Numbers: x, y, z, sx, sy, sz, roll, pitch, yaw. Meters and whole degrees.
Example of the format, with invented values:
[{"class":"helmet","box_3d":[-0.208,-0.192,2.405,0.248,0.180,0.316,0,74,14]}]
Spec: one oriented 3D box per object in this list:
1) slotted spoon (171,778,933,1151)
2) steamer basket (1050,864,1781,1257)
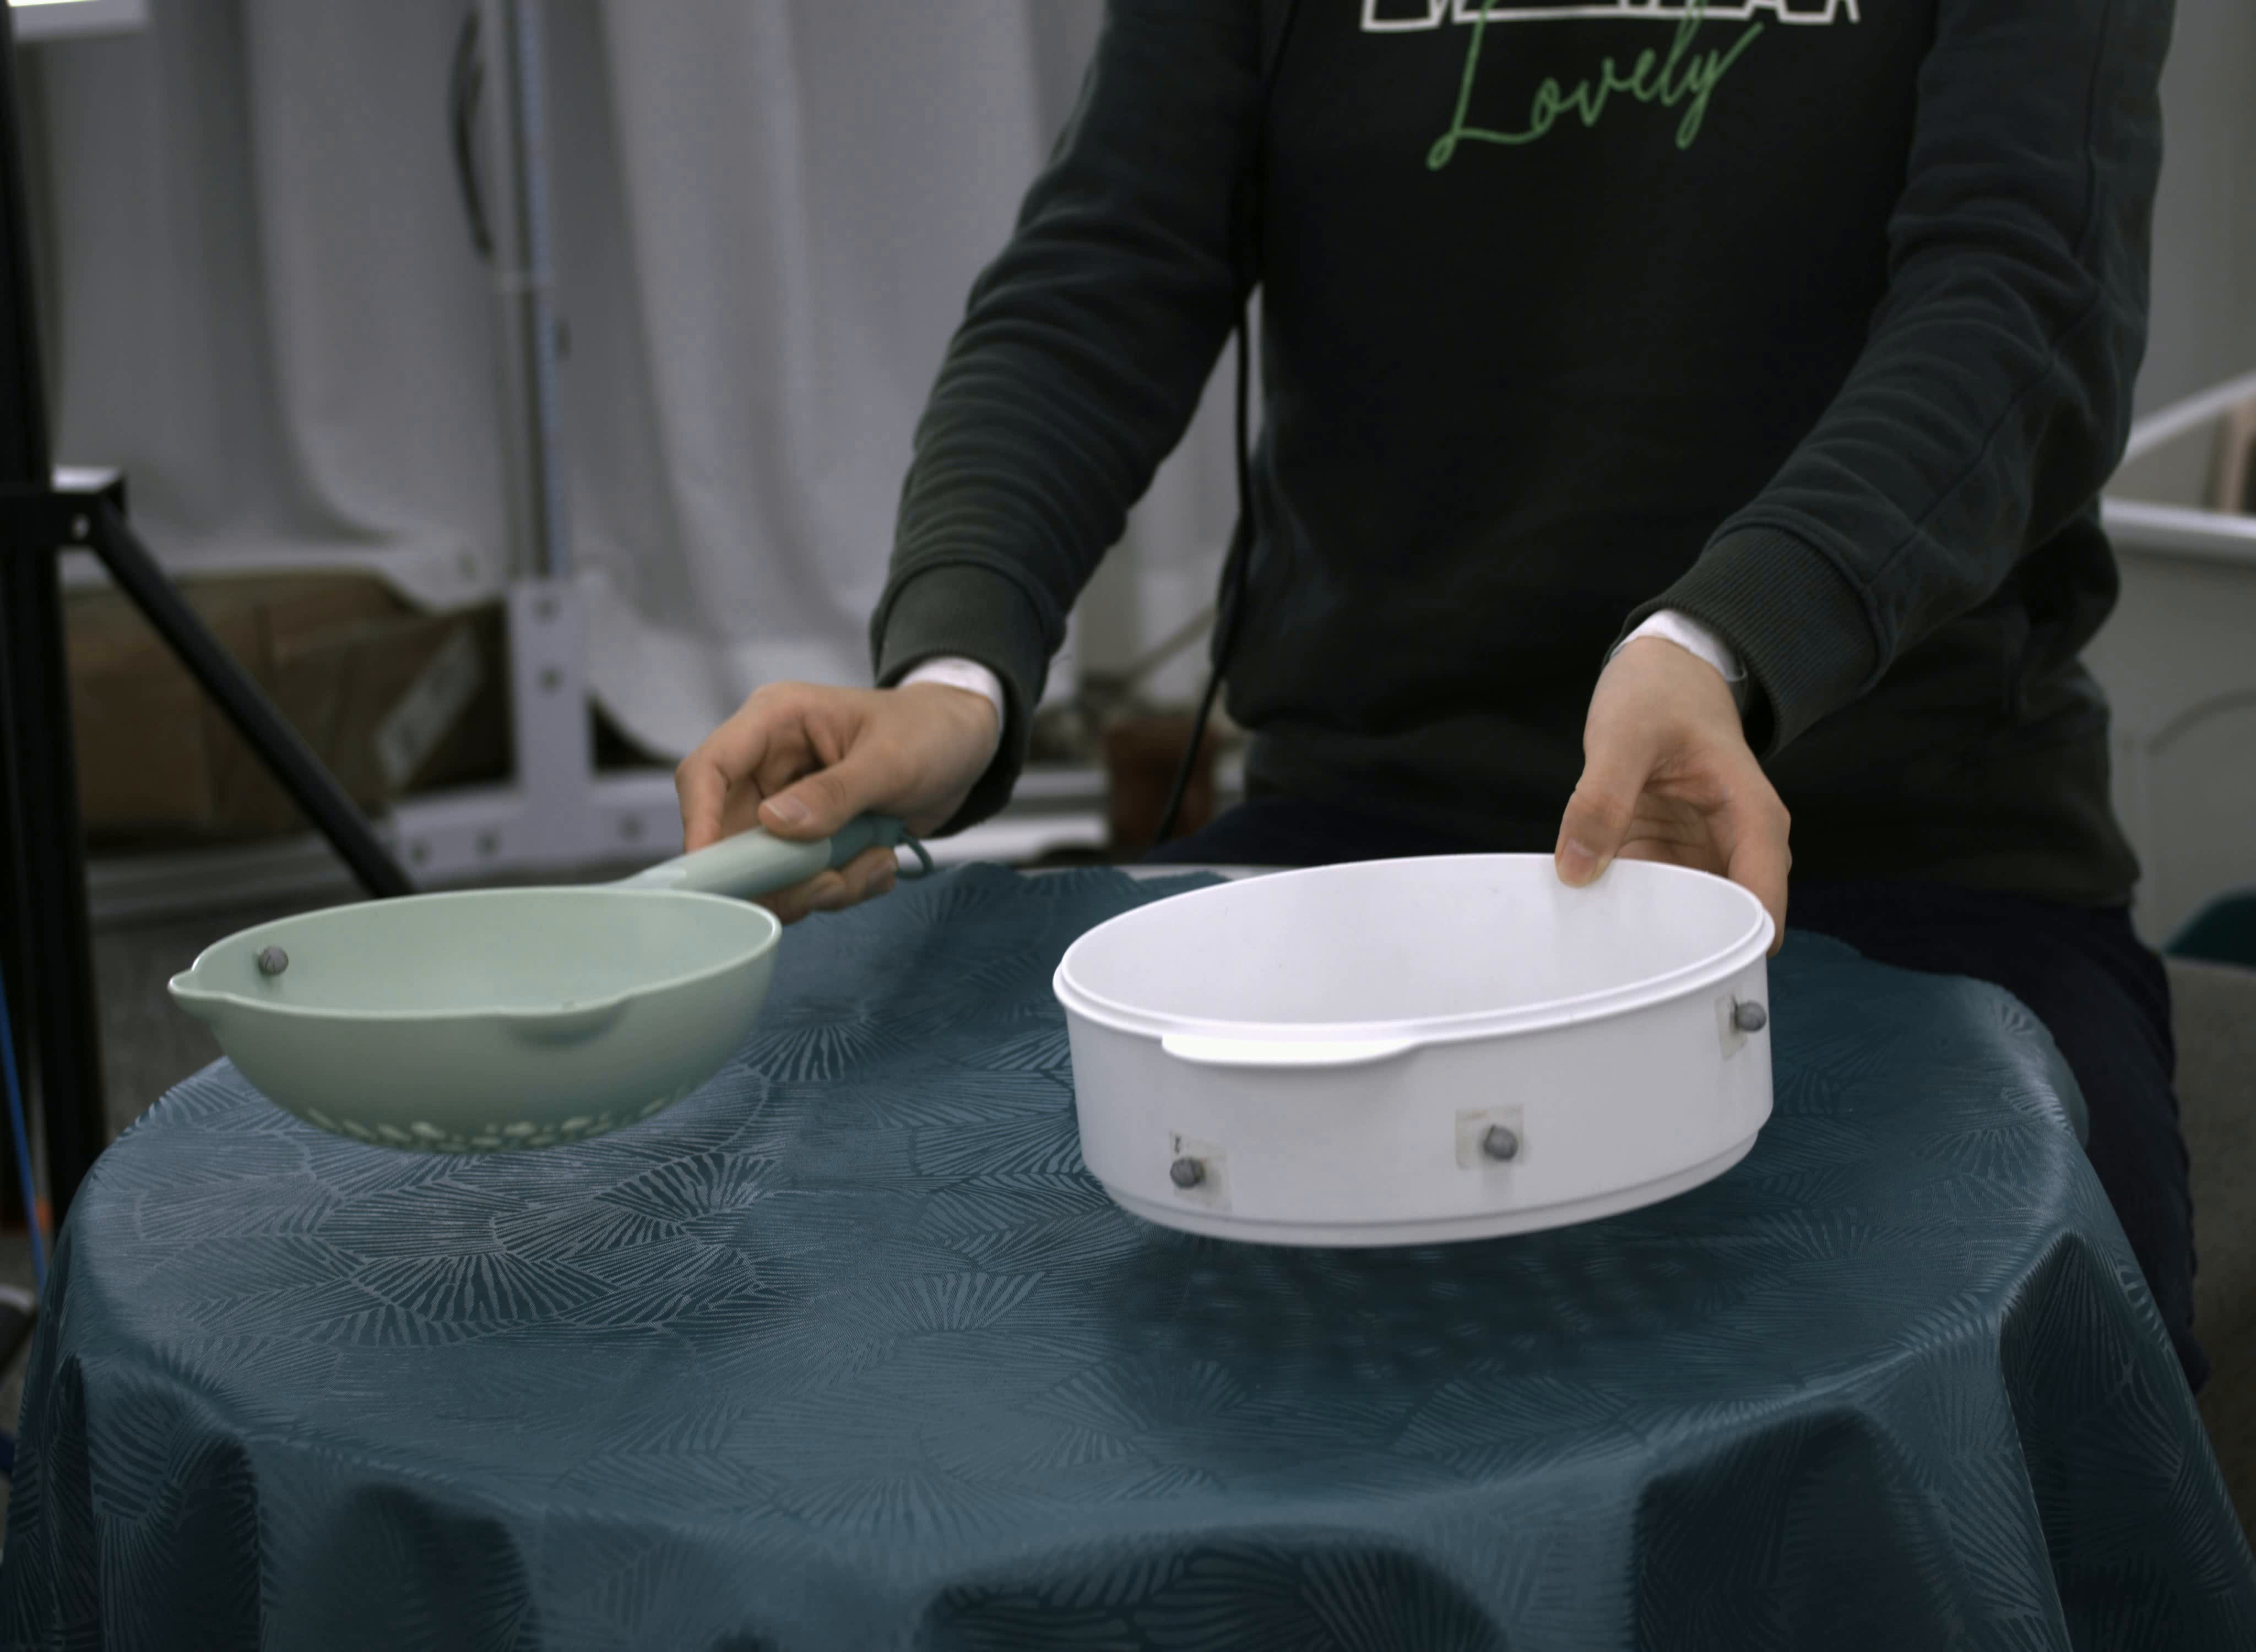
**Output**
[{"class":"slotted spoon","box_3d":[-0.143,0.026,1.617,0.172,0.075,0.354,2,20,24]},{"class":"steamer basket","box_3d":[0.081,0.064,1.469,0.204,0.069,0.227,1,13,23]}]
